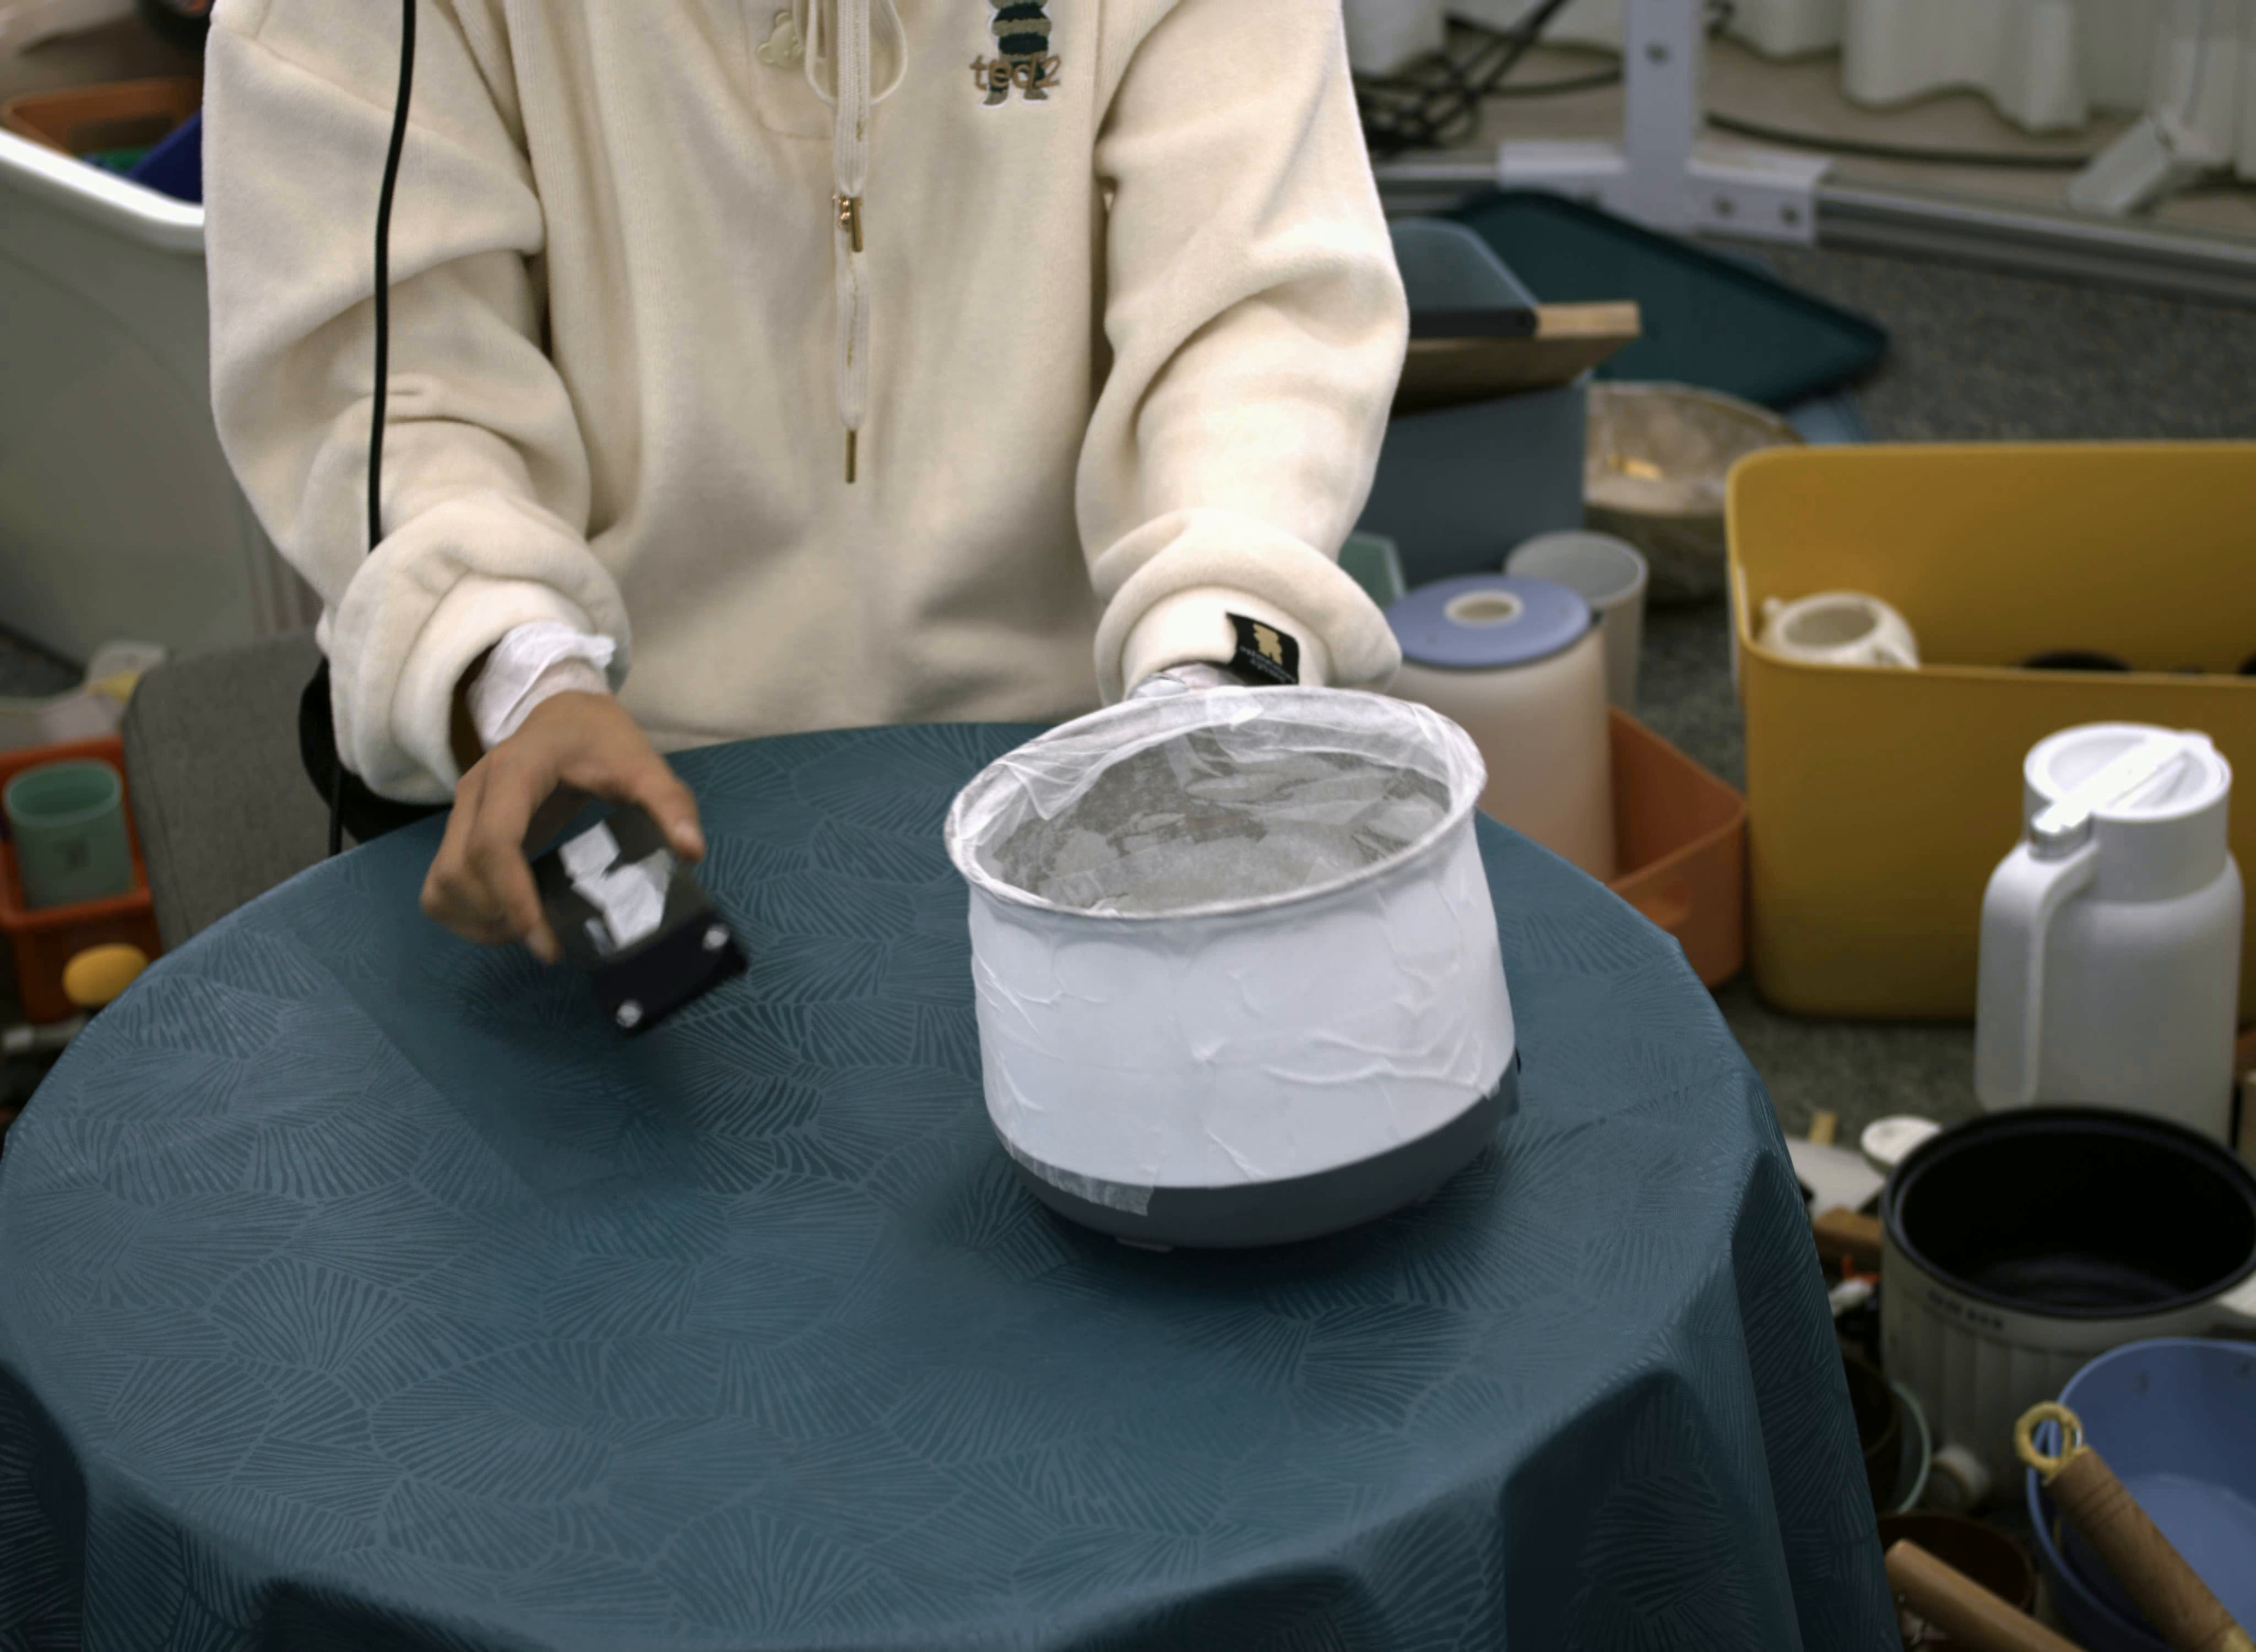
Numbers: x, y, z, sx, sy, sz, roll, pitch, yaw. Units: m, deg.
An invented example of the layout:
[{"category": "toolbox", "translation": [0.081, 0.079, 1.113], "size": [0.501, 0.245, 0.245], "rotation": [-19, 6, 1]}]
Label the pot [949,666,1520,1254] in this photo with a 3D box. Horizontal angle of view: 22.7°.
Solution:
[{"category": "pot", "translation": [0.031, 0.037, 1.864], "size": [0.178, 0.135, 0.236], "rotation": [-10, 25, -8]}]

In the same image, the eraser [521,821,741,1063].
[{"category": "eraser", "translation": [-0.171, 0.039, 1.931], "size": [0.053, 0.030, 0.126], "rotation": [-29, 24, -5]}]
